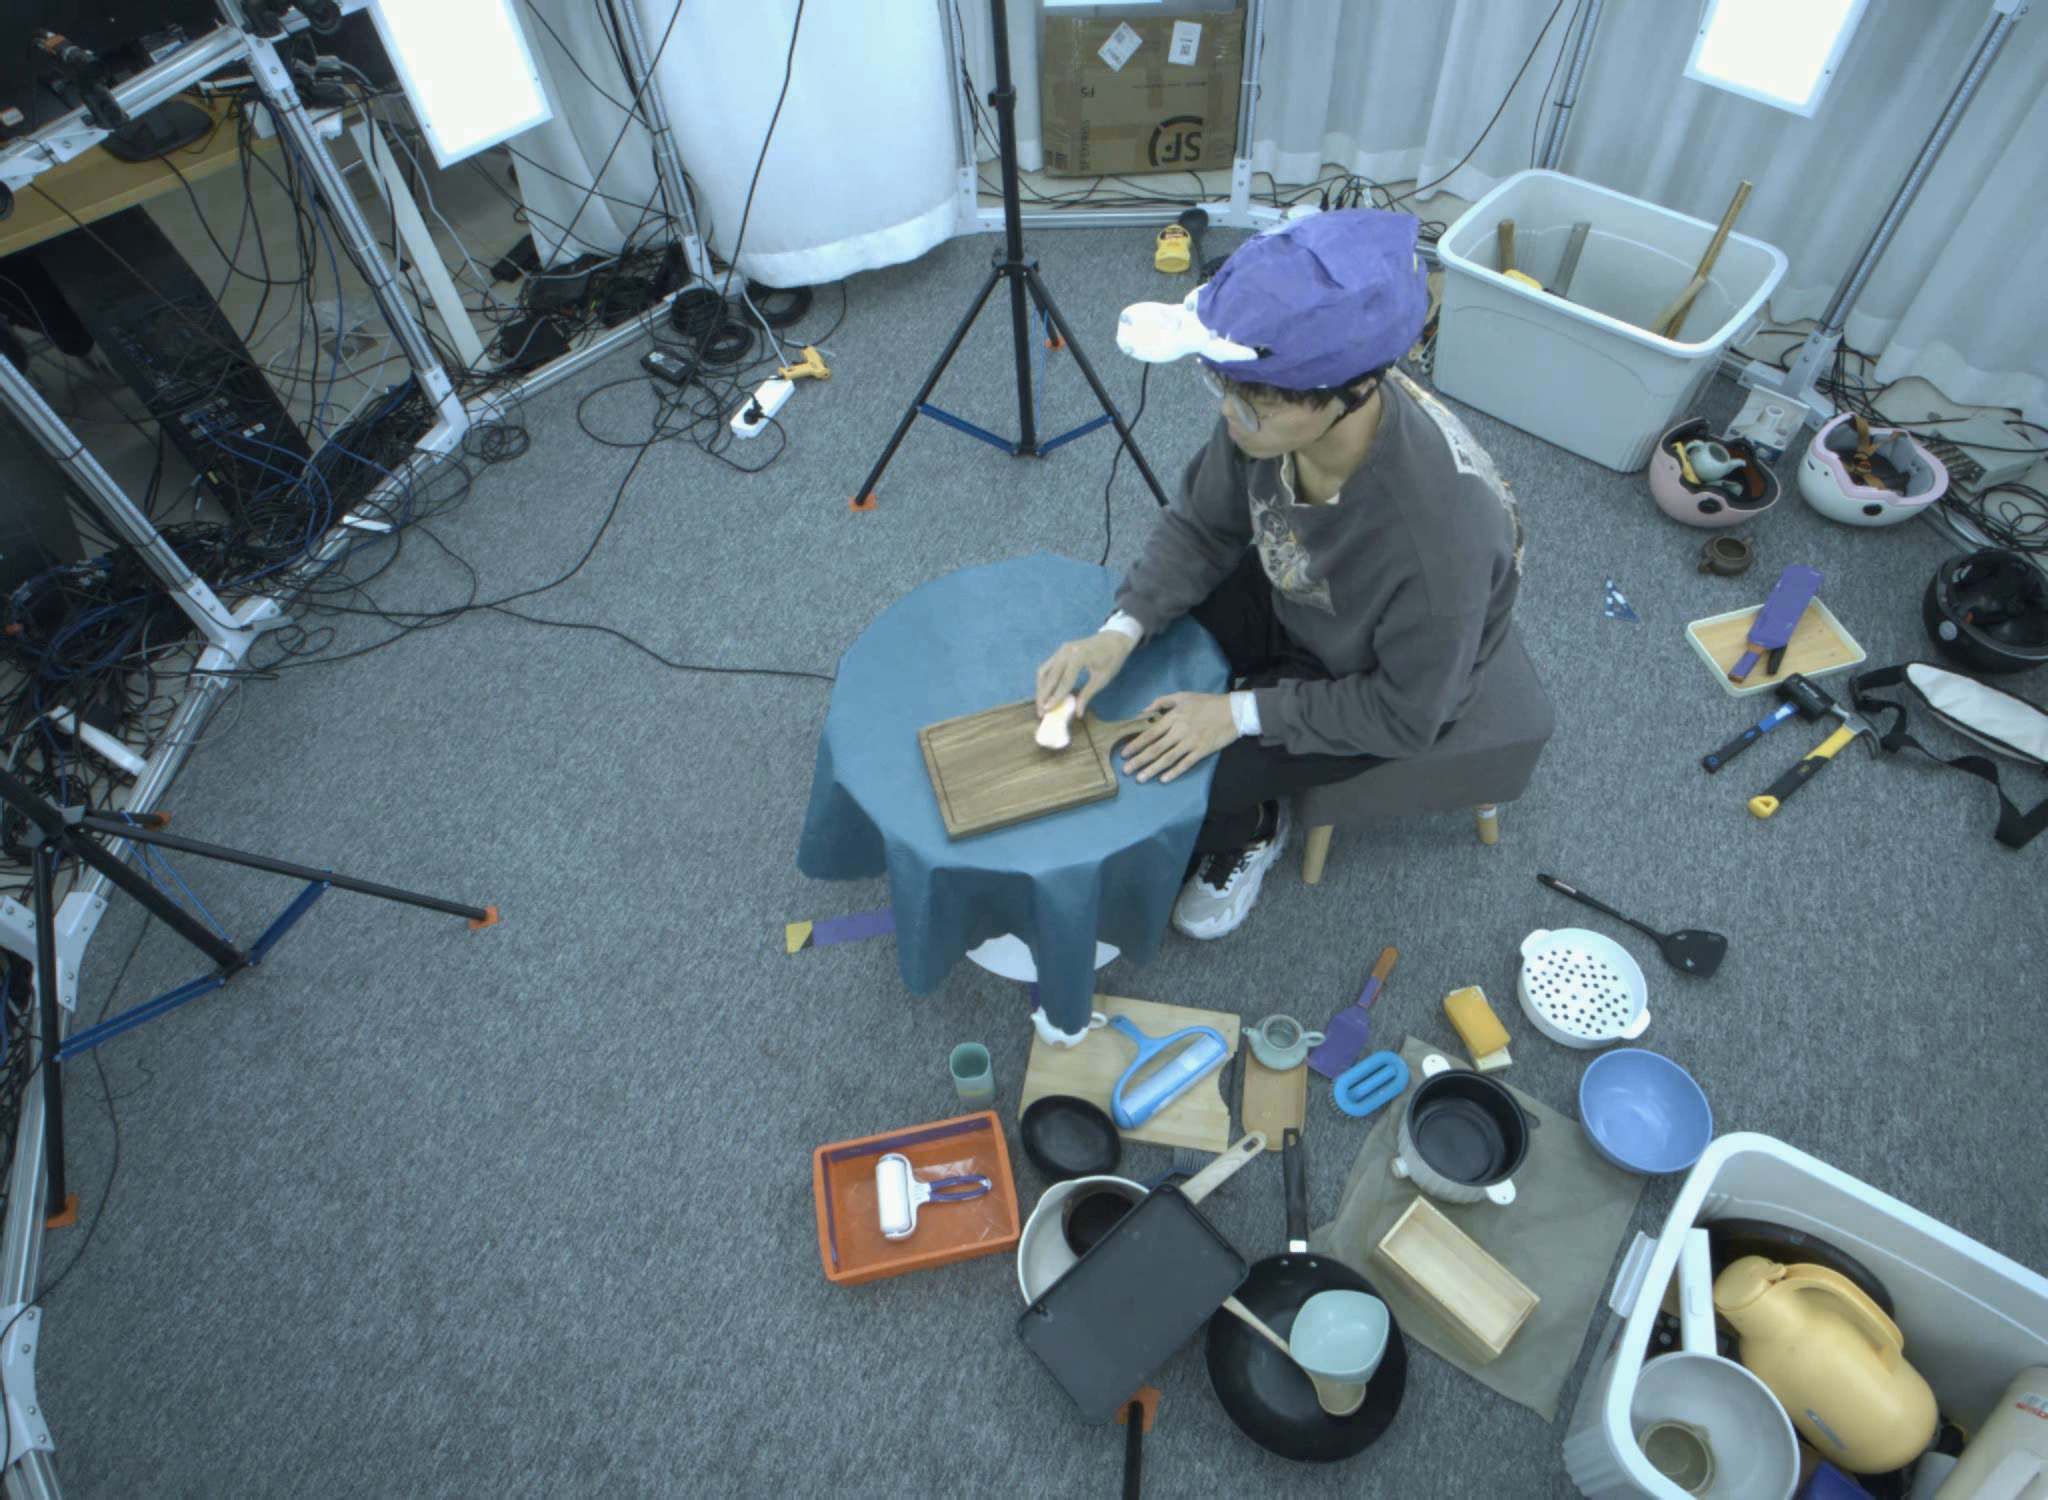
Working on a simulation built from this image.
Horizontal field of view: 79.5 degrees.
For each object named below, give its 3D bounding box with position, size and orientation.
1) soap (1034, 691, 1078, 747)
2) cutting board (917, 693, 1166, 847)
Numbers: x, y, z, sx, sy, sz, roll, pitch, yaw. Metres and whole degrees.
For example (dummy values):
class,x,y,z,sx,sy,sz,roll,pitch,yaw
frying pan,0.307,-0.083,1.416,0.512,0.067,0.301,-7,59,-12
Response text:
class,x,y,z,sx,sy,sz,roll,pitch,yaw
soap,0.046,-0.044,1.764,0.050,0.031,0.094,9,56,9
cutting board,0.036,0.012,1.762,0.354,0.023,0.198,-14,55,-8
